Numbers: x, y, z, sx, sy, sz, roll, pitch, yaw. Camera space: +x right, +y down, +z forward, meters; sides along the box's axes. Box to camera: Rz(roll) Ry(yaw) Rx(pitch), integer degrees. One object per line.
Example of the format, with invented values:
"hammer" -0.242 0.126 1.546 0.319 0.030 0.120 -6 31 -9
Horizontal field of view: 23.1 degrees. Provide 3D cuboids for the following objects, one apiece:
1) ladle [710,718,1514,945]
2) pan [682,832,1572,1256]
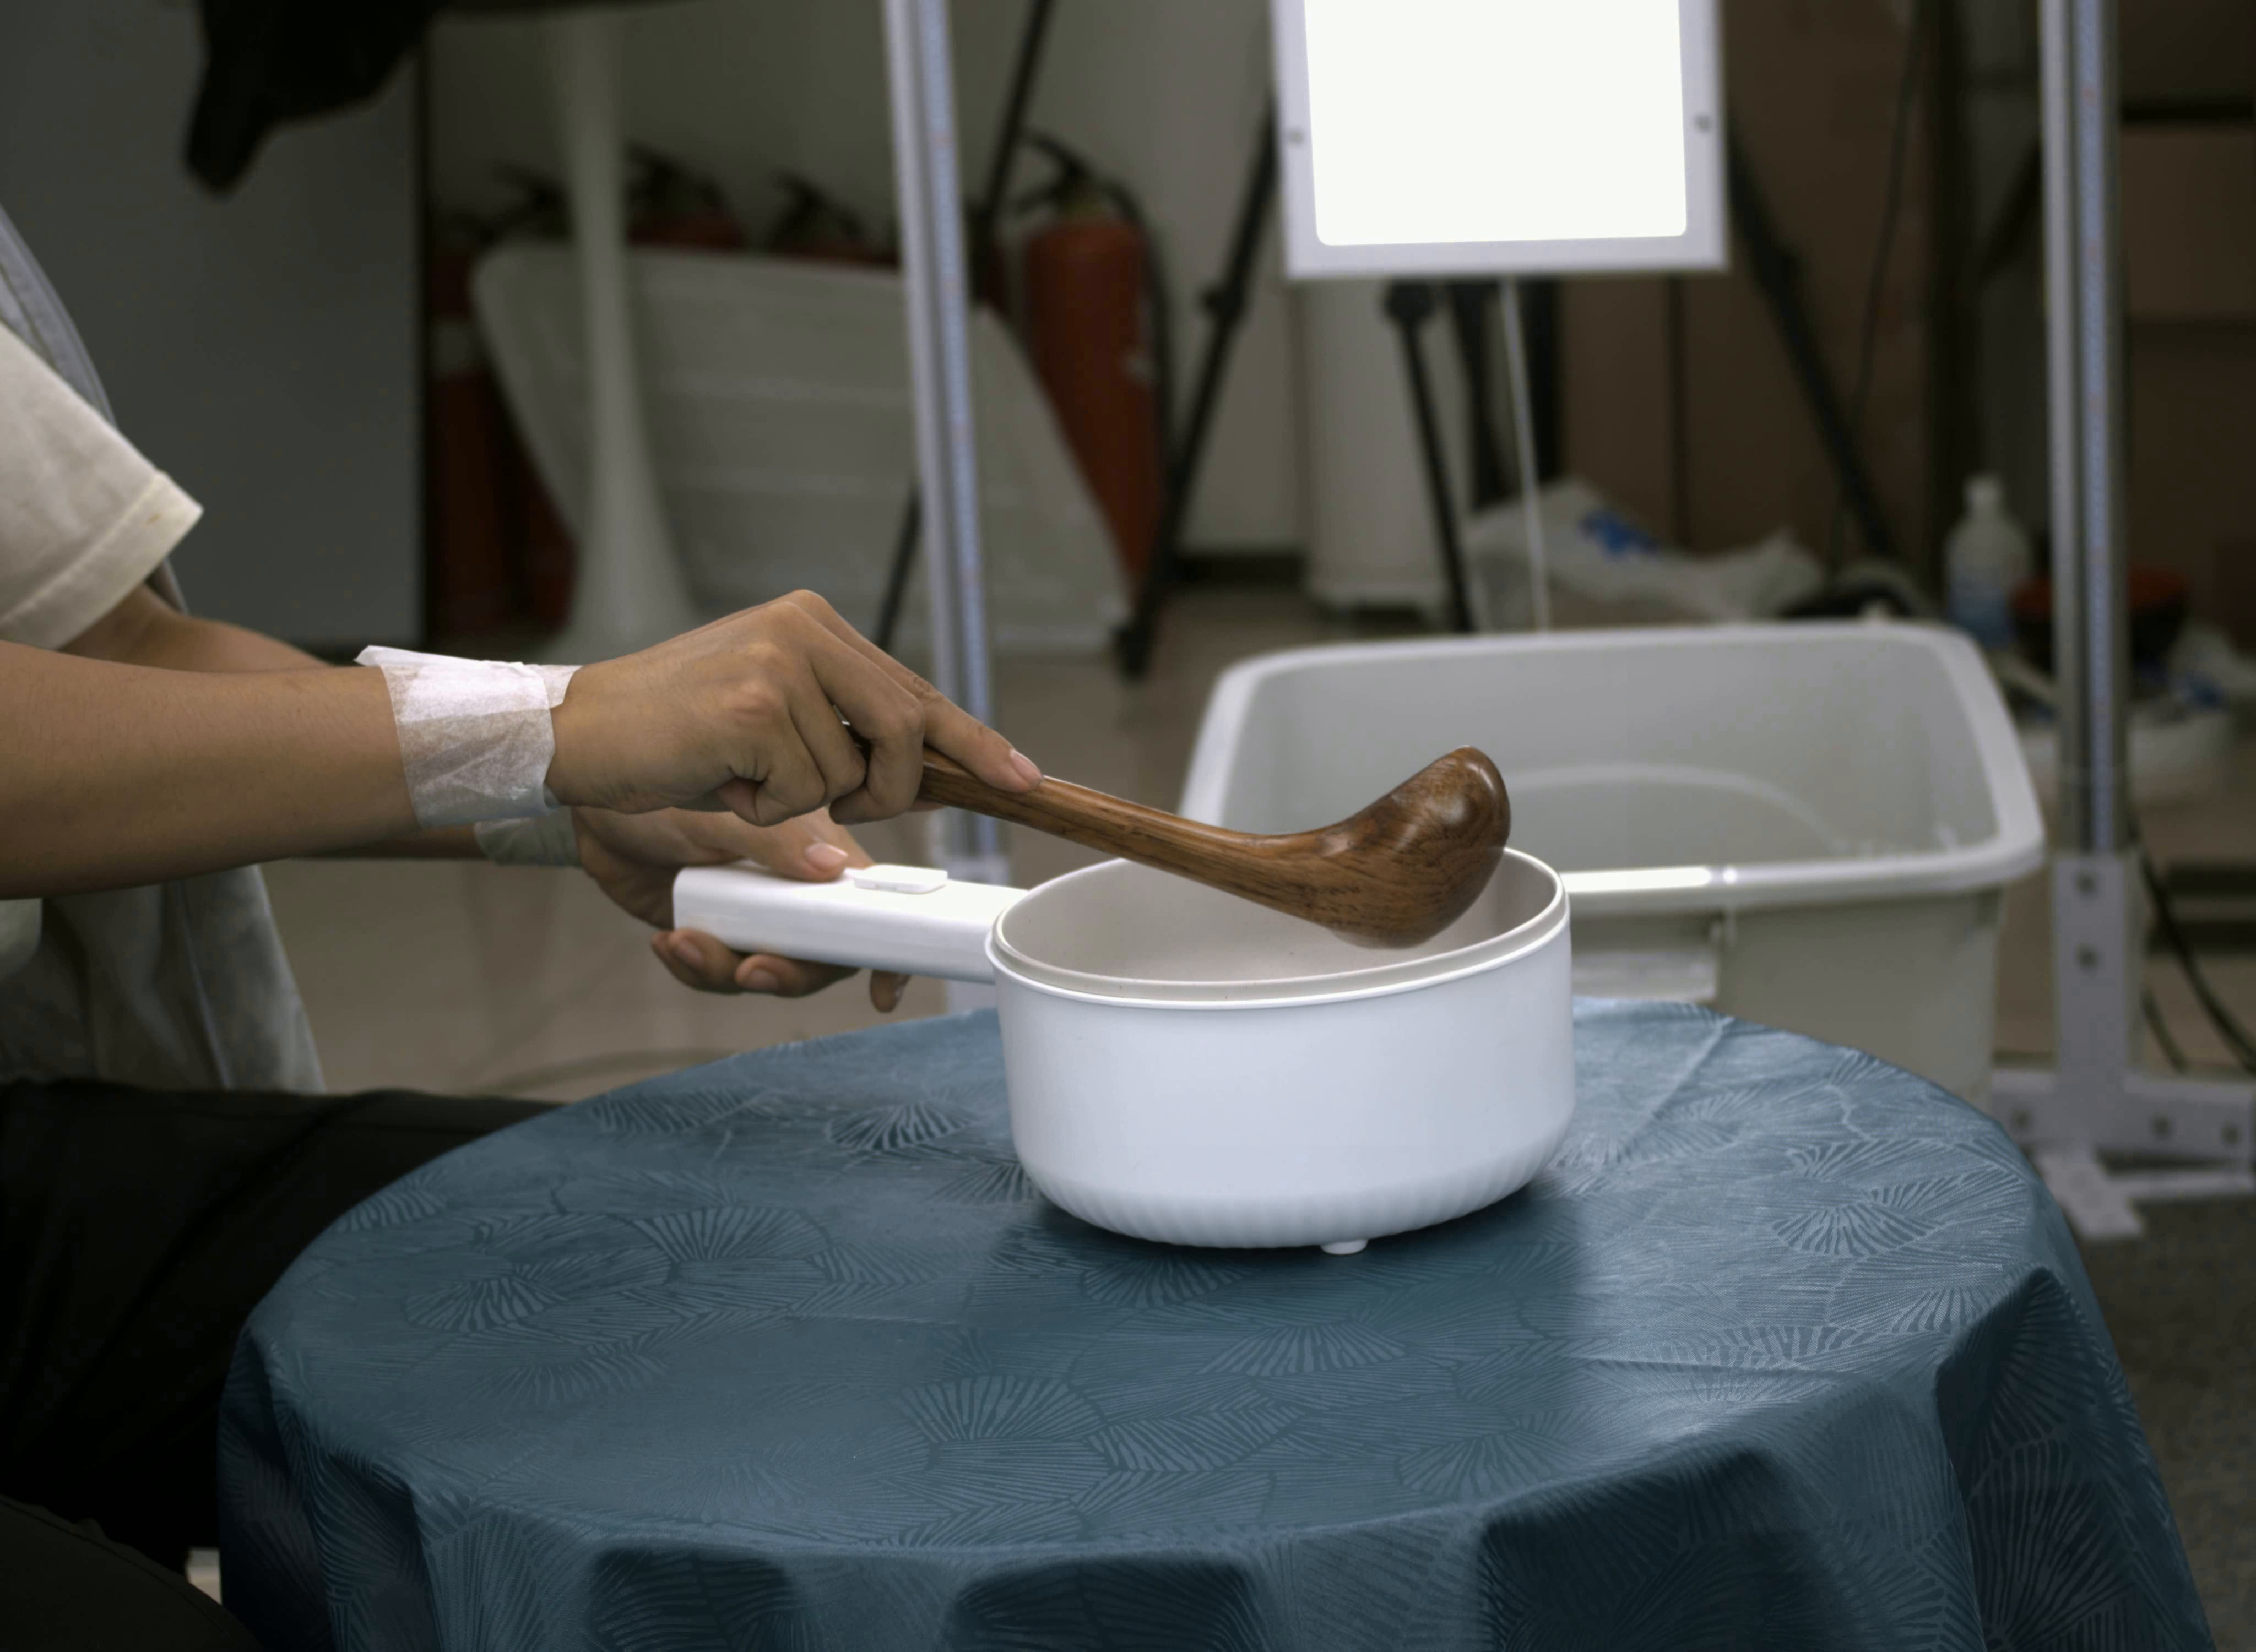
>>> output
"ladle" -0.002 -0.017 1.852 0.272 0.083 0.076 13 34 -3
"pan" -0.008 0.070 1.922 0.362 0.102 0.196 5 17 37
